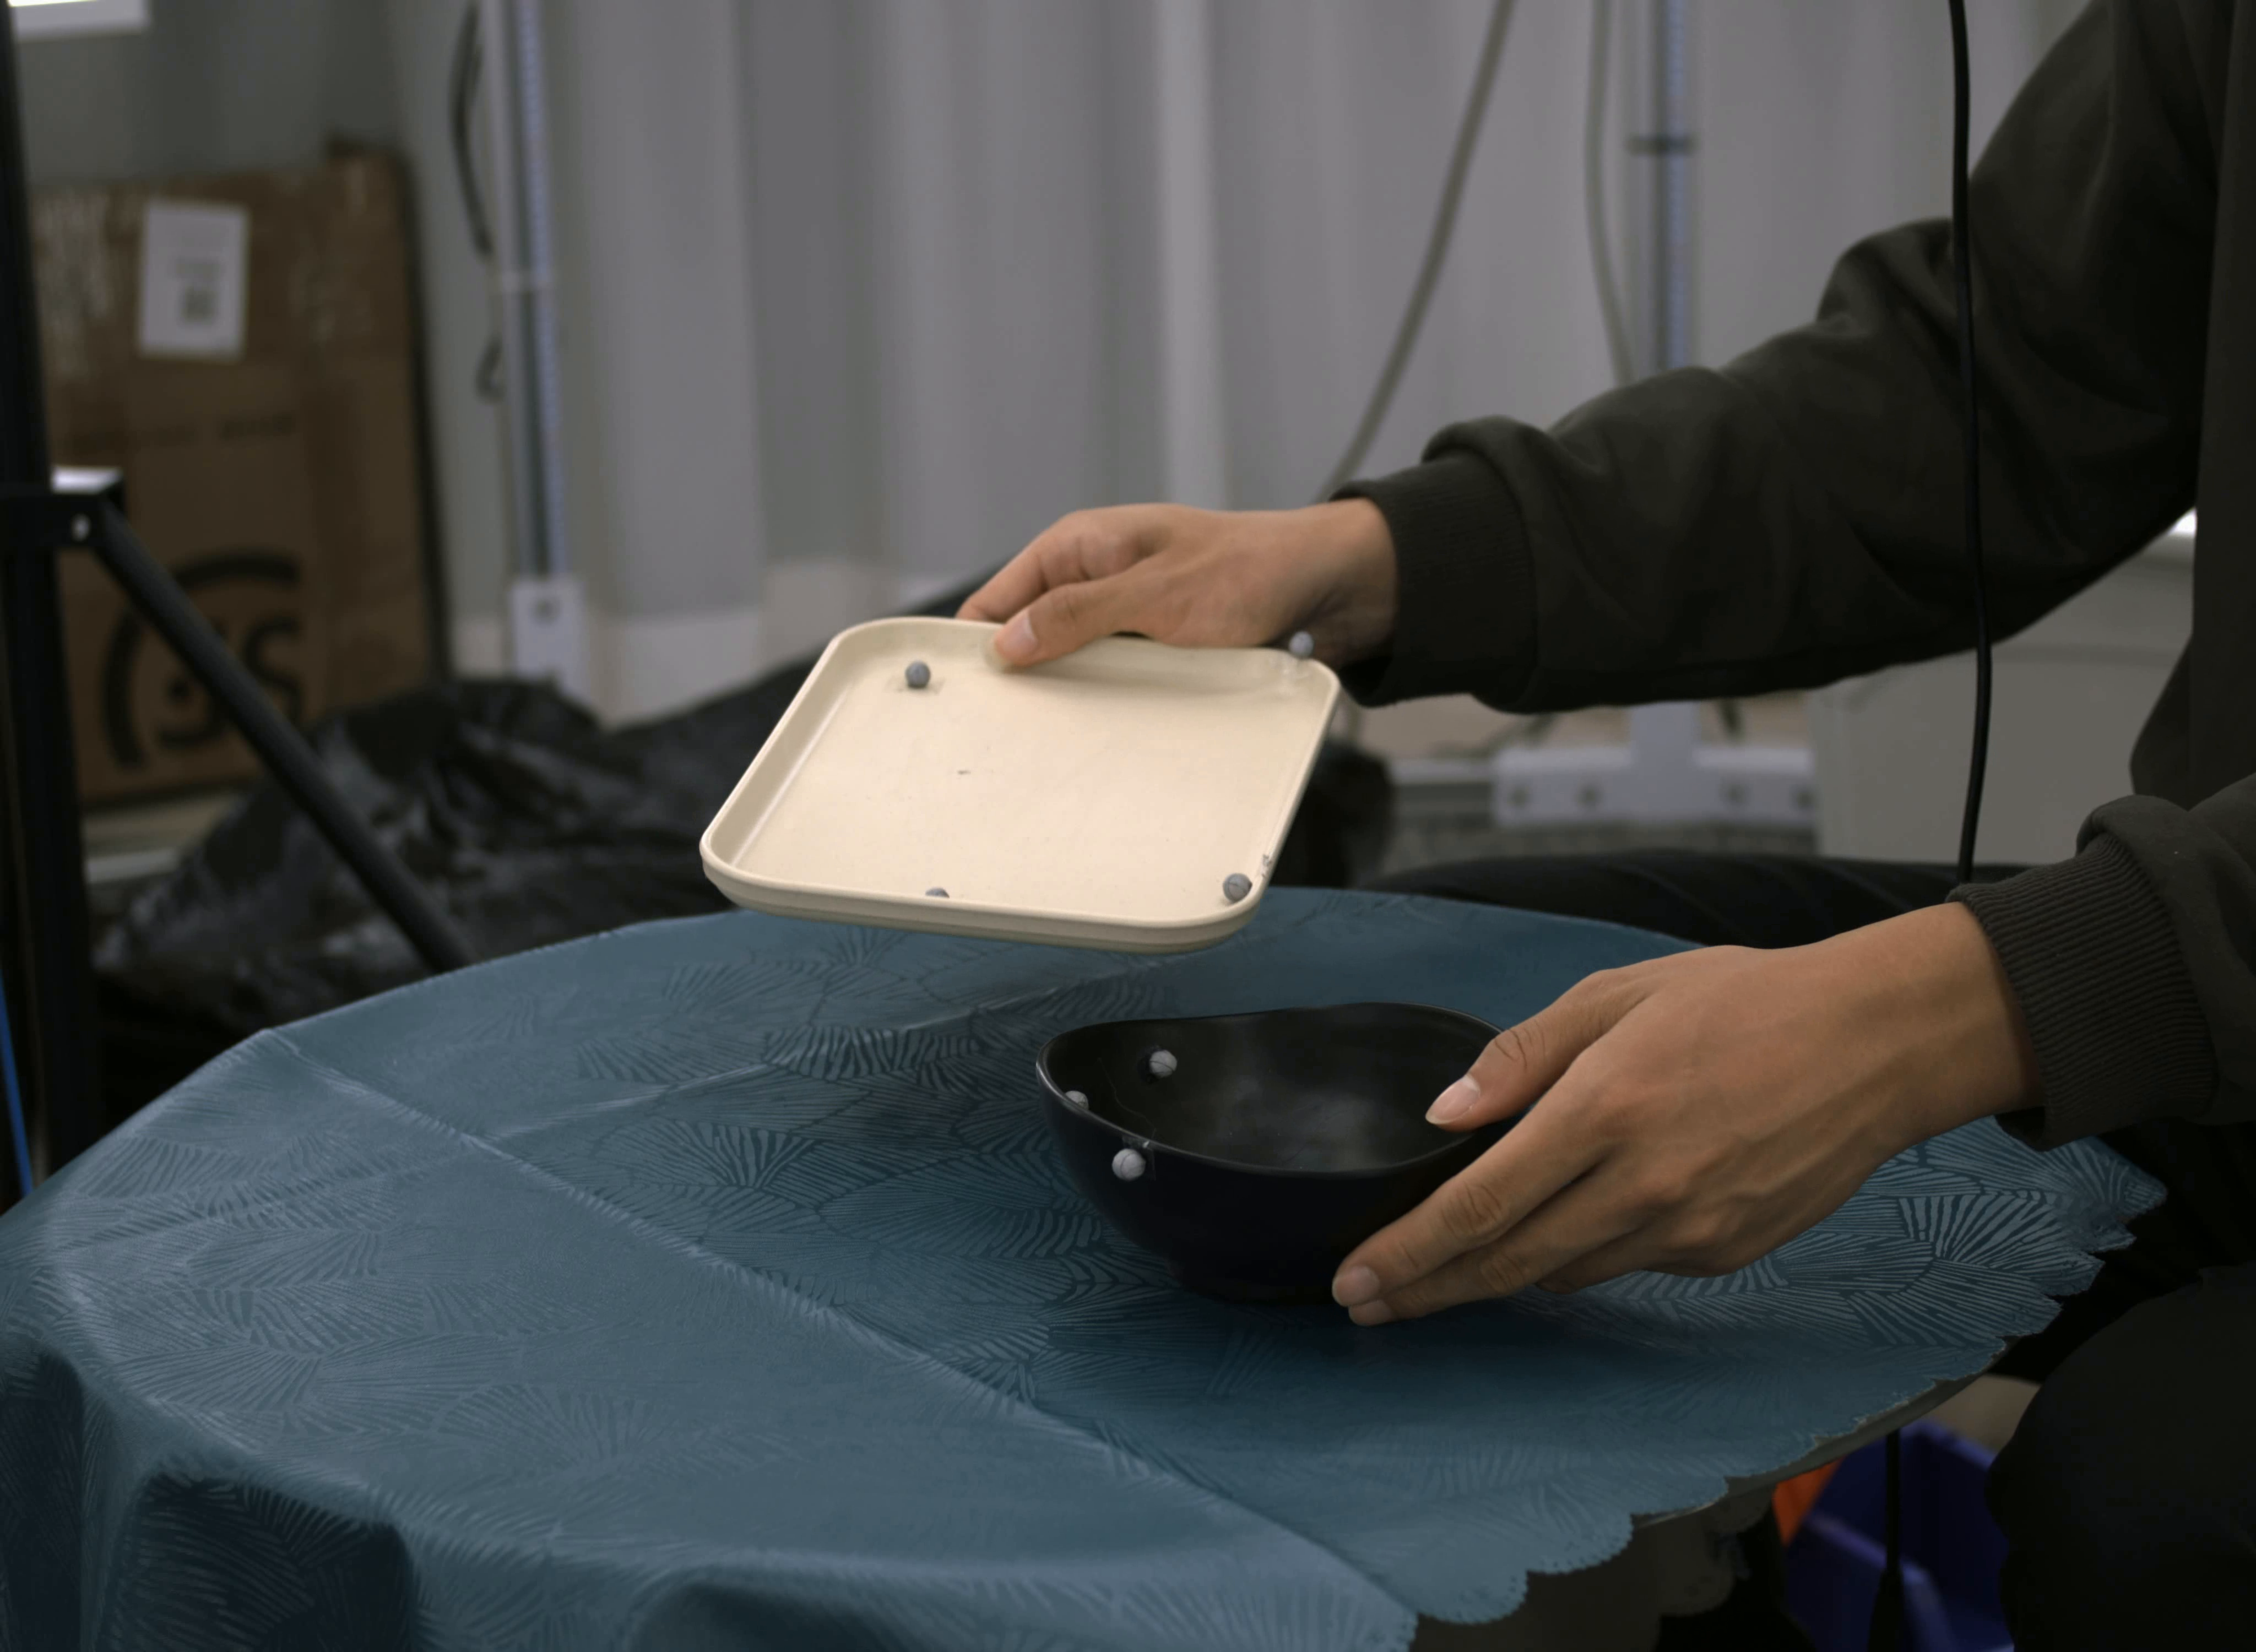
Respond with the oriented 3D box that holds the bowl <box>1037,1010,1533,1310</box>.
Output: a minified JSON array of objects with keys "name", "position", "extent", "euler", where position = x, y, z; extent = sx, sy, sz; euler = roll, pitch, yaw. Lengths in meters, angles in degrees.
[{"name":"bowl","position":[0.043,0.096,1.486],"extent":[0.135,0.067,0.172],"euler":[-4,13,-10]}]

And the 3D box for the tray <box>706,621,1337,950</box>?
[{"name":"tray","position":[-0.029,-0.014,1.665],"extent":[0.172,0.017,0.239],"euler":[4,22,9]}]
